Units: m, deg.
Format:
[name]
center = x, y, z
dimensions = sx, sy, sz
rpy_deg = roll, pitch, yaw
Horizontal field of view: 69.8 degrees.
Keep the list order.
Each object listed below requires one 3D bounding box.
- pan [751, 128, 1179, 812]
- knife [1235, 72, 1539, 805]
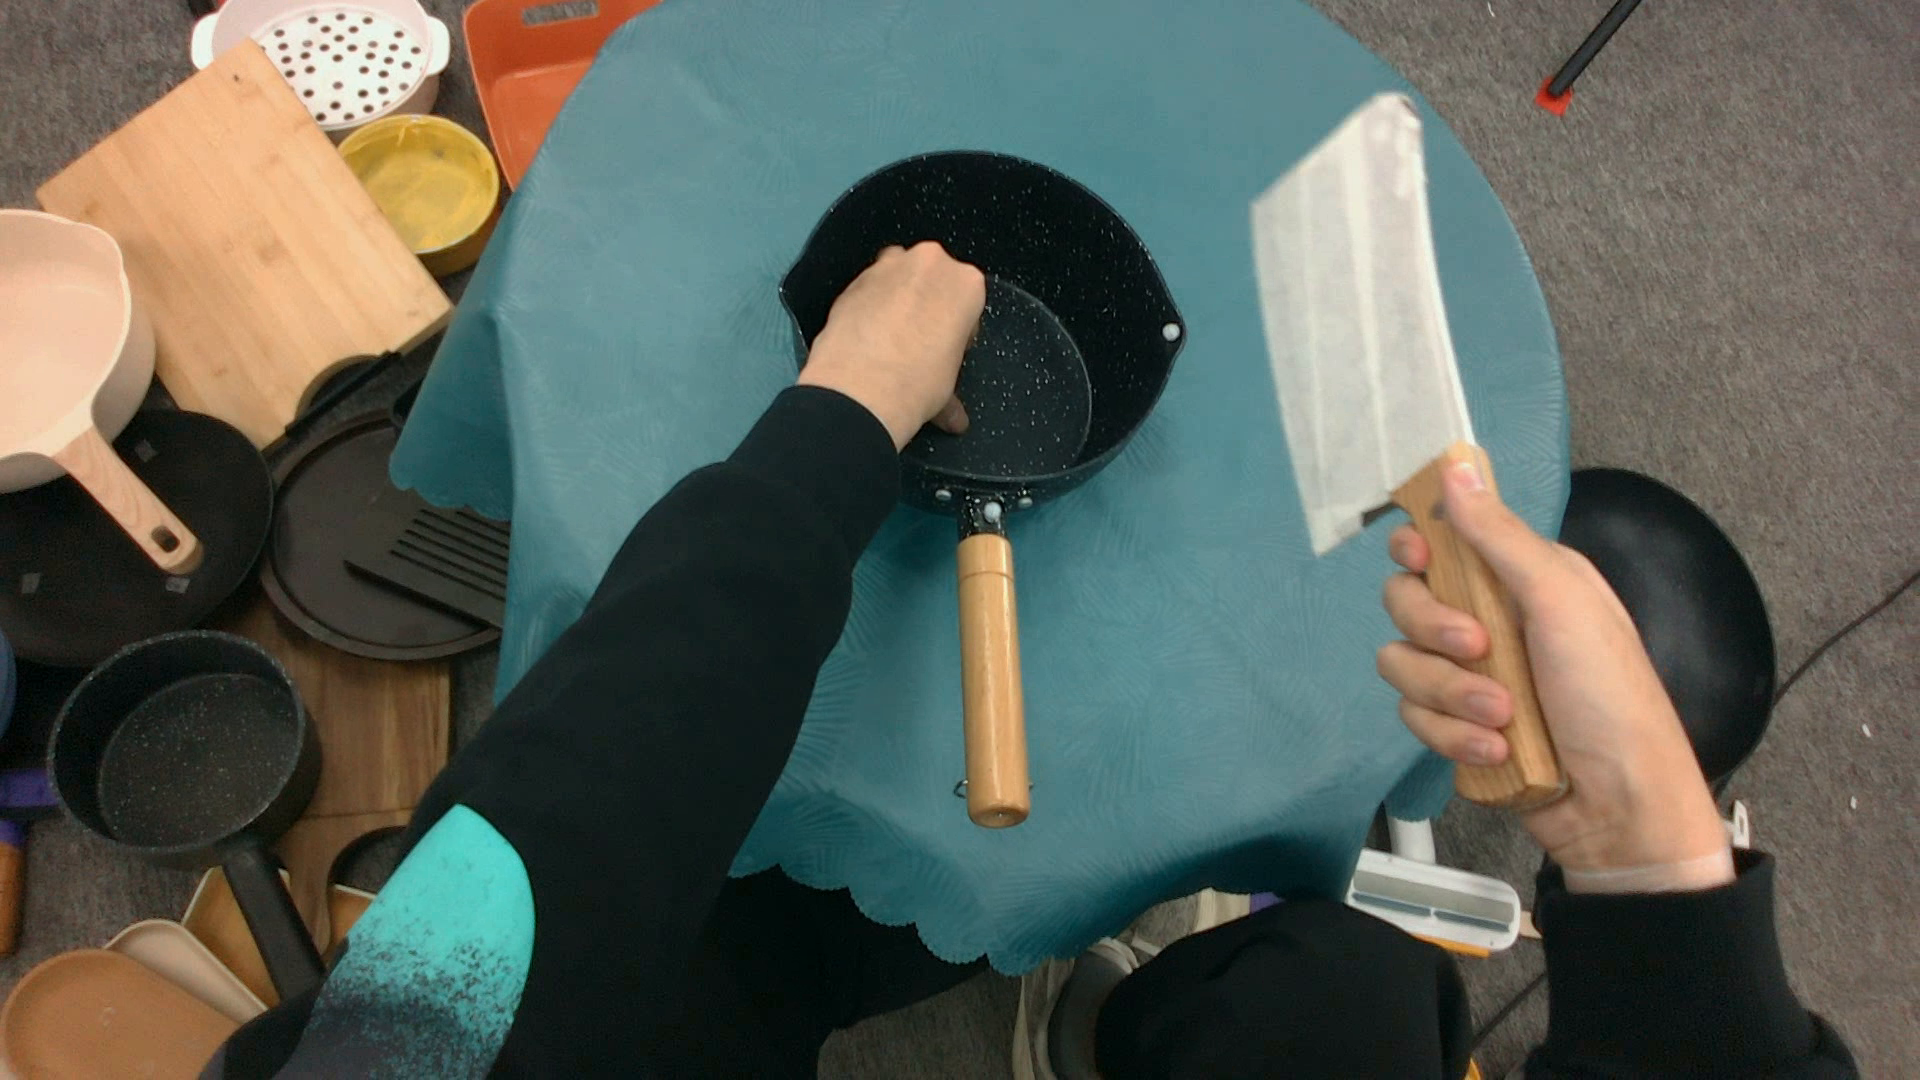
[pan]
center = 0.003, -0.035, 0.652
dimensions = 0.208, 0.108, 0.344
rpy_deg = 2, 67, -12
[knife]
center = 0.161, -0.050, 0.534
dimensions = 0.022, 0.113, 0.316
rpy_deg = 9, 56, -26
